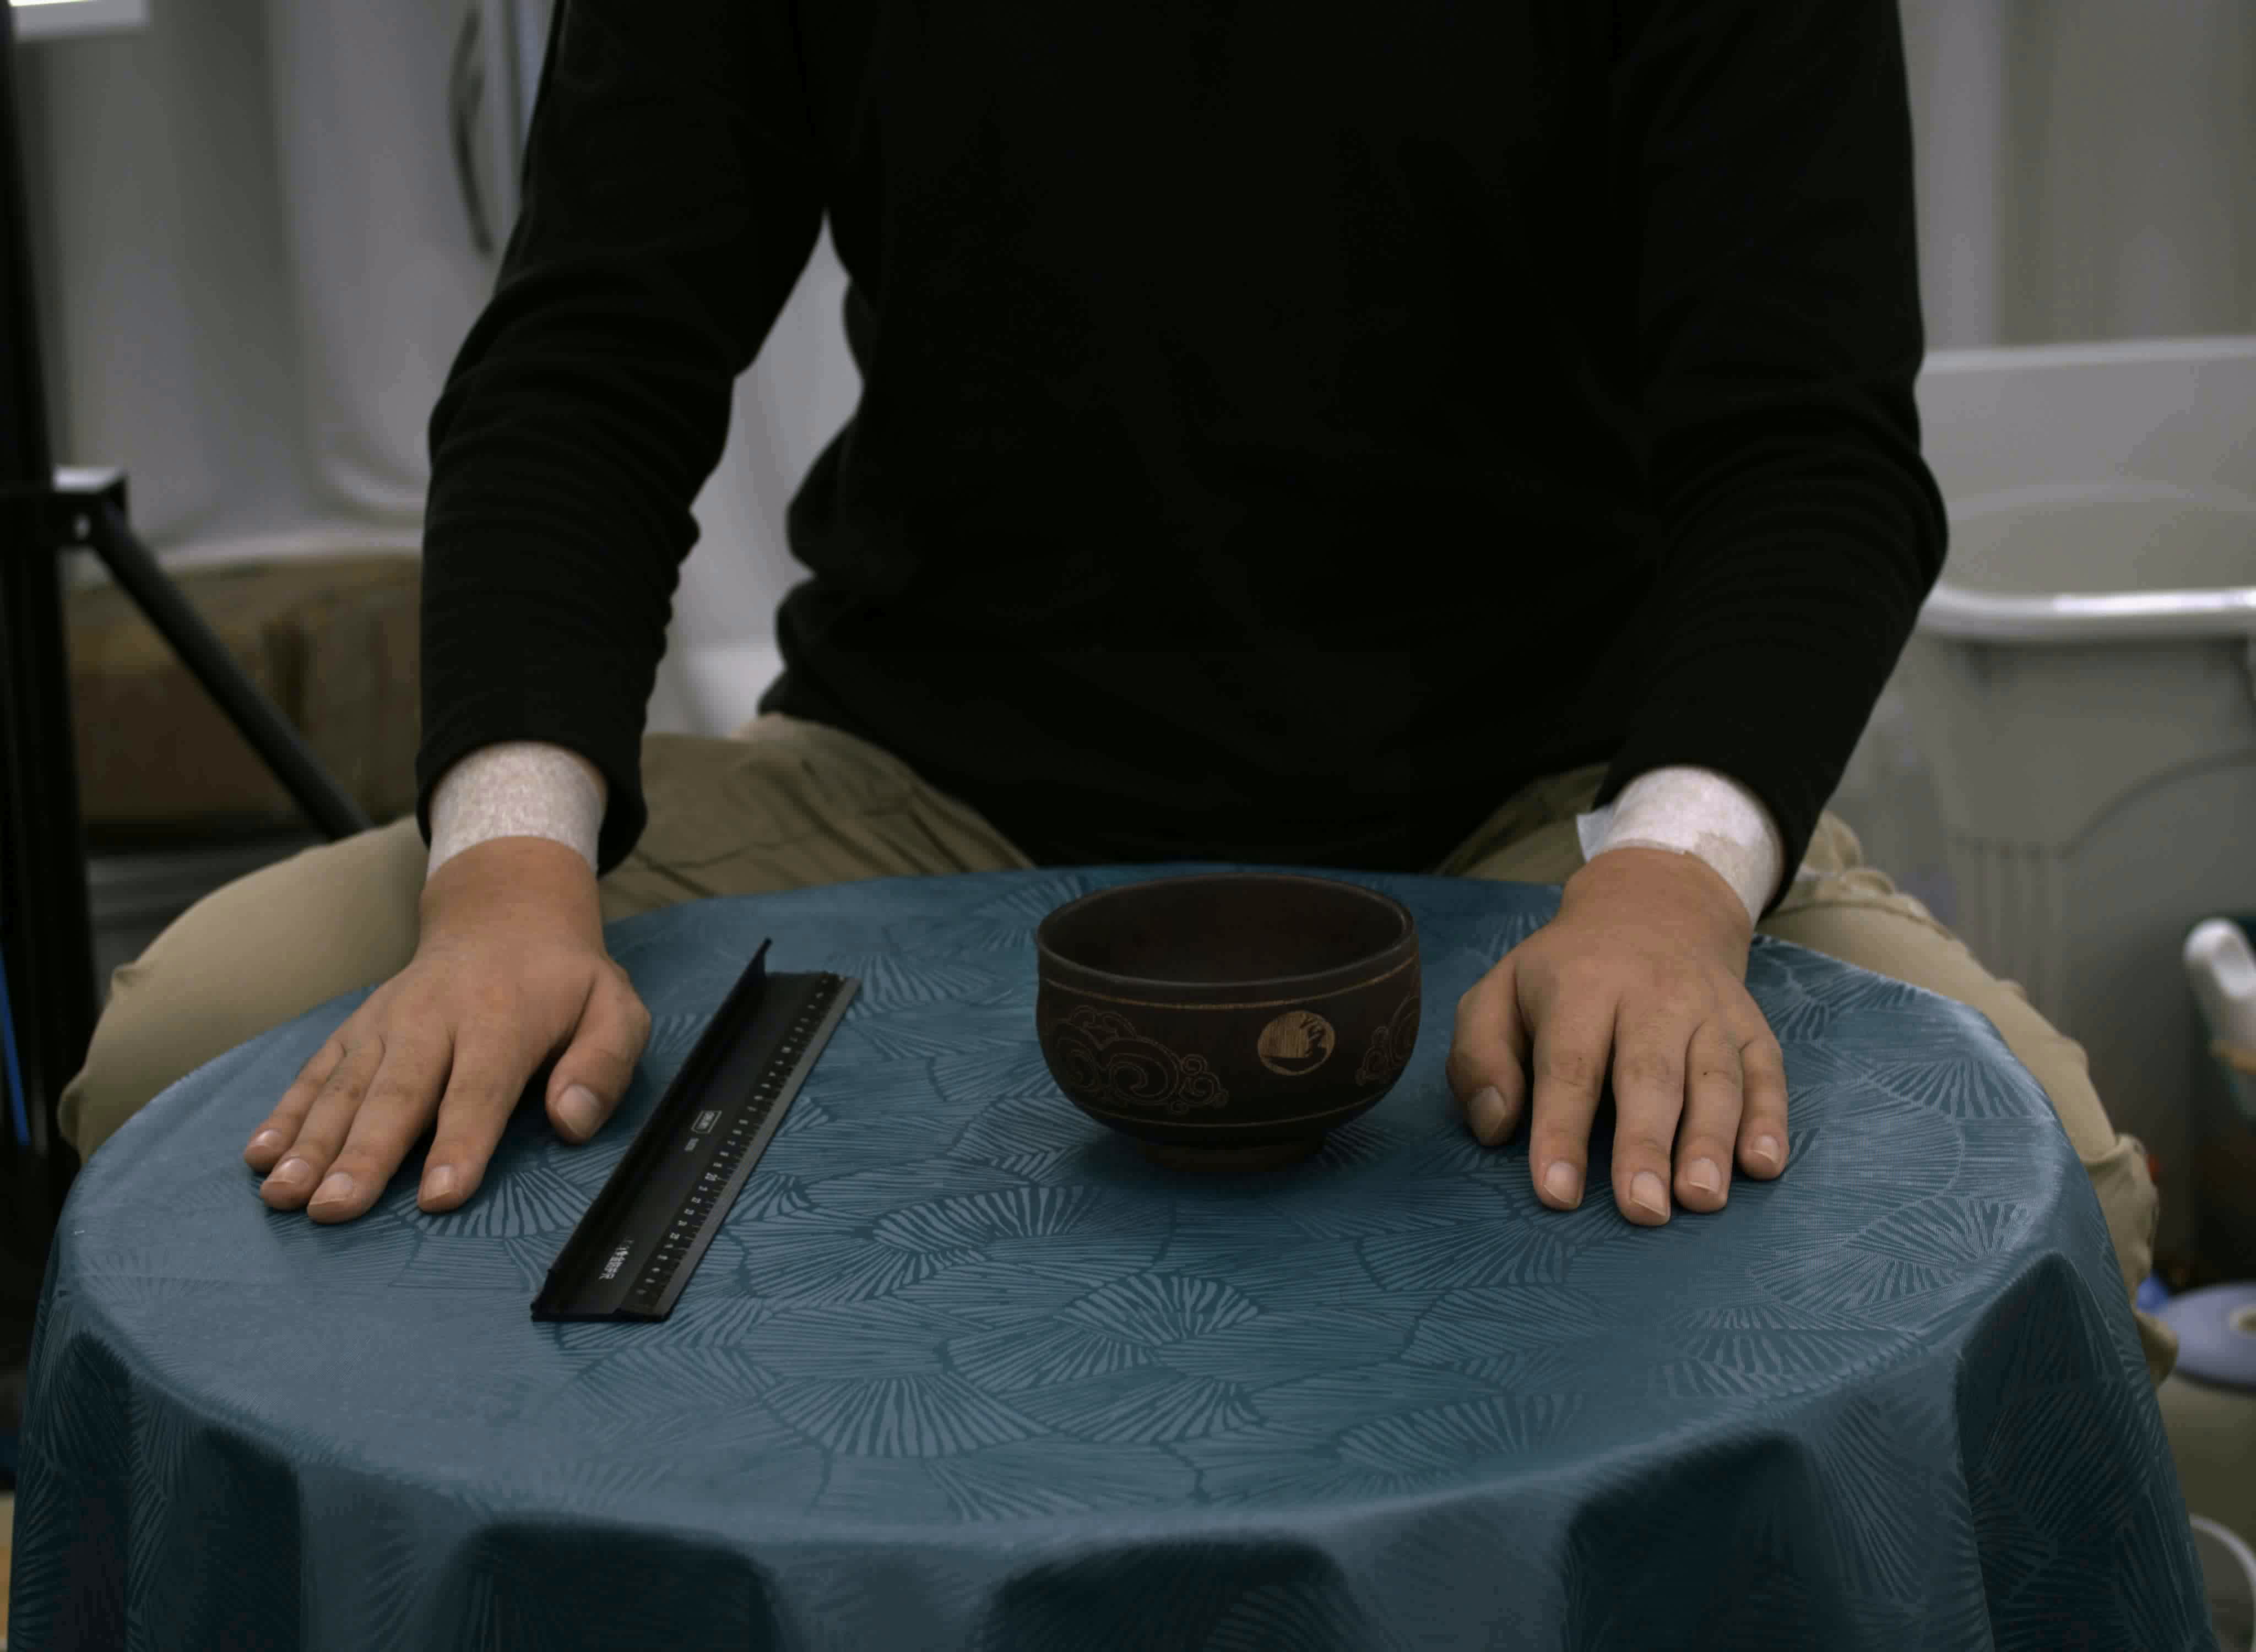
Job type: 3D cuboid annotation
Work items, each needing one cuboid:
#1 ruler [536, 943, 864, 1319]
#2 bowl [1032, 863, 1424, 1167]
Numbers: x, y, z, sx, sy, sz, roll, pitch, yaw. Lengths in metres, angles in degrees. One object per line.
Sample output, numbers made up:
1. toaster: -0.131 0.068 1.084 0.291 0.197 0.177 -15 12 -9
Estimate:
1. ruler: -0.126 0.088 1.621 0.039 0.017 0.311 4 16 7
2. bowl: 0.030 0.060 1.585 0.117 0.070 0.118 -2 16 -1
